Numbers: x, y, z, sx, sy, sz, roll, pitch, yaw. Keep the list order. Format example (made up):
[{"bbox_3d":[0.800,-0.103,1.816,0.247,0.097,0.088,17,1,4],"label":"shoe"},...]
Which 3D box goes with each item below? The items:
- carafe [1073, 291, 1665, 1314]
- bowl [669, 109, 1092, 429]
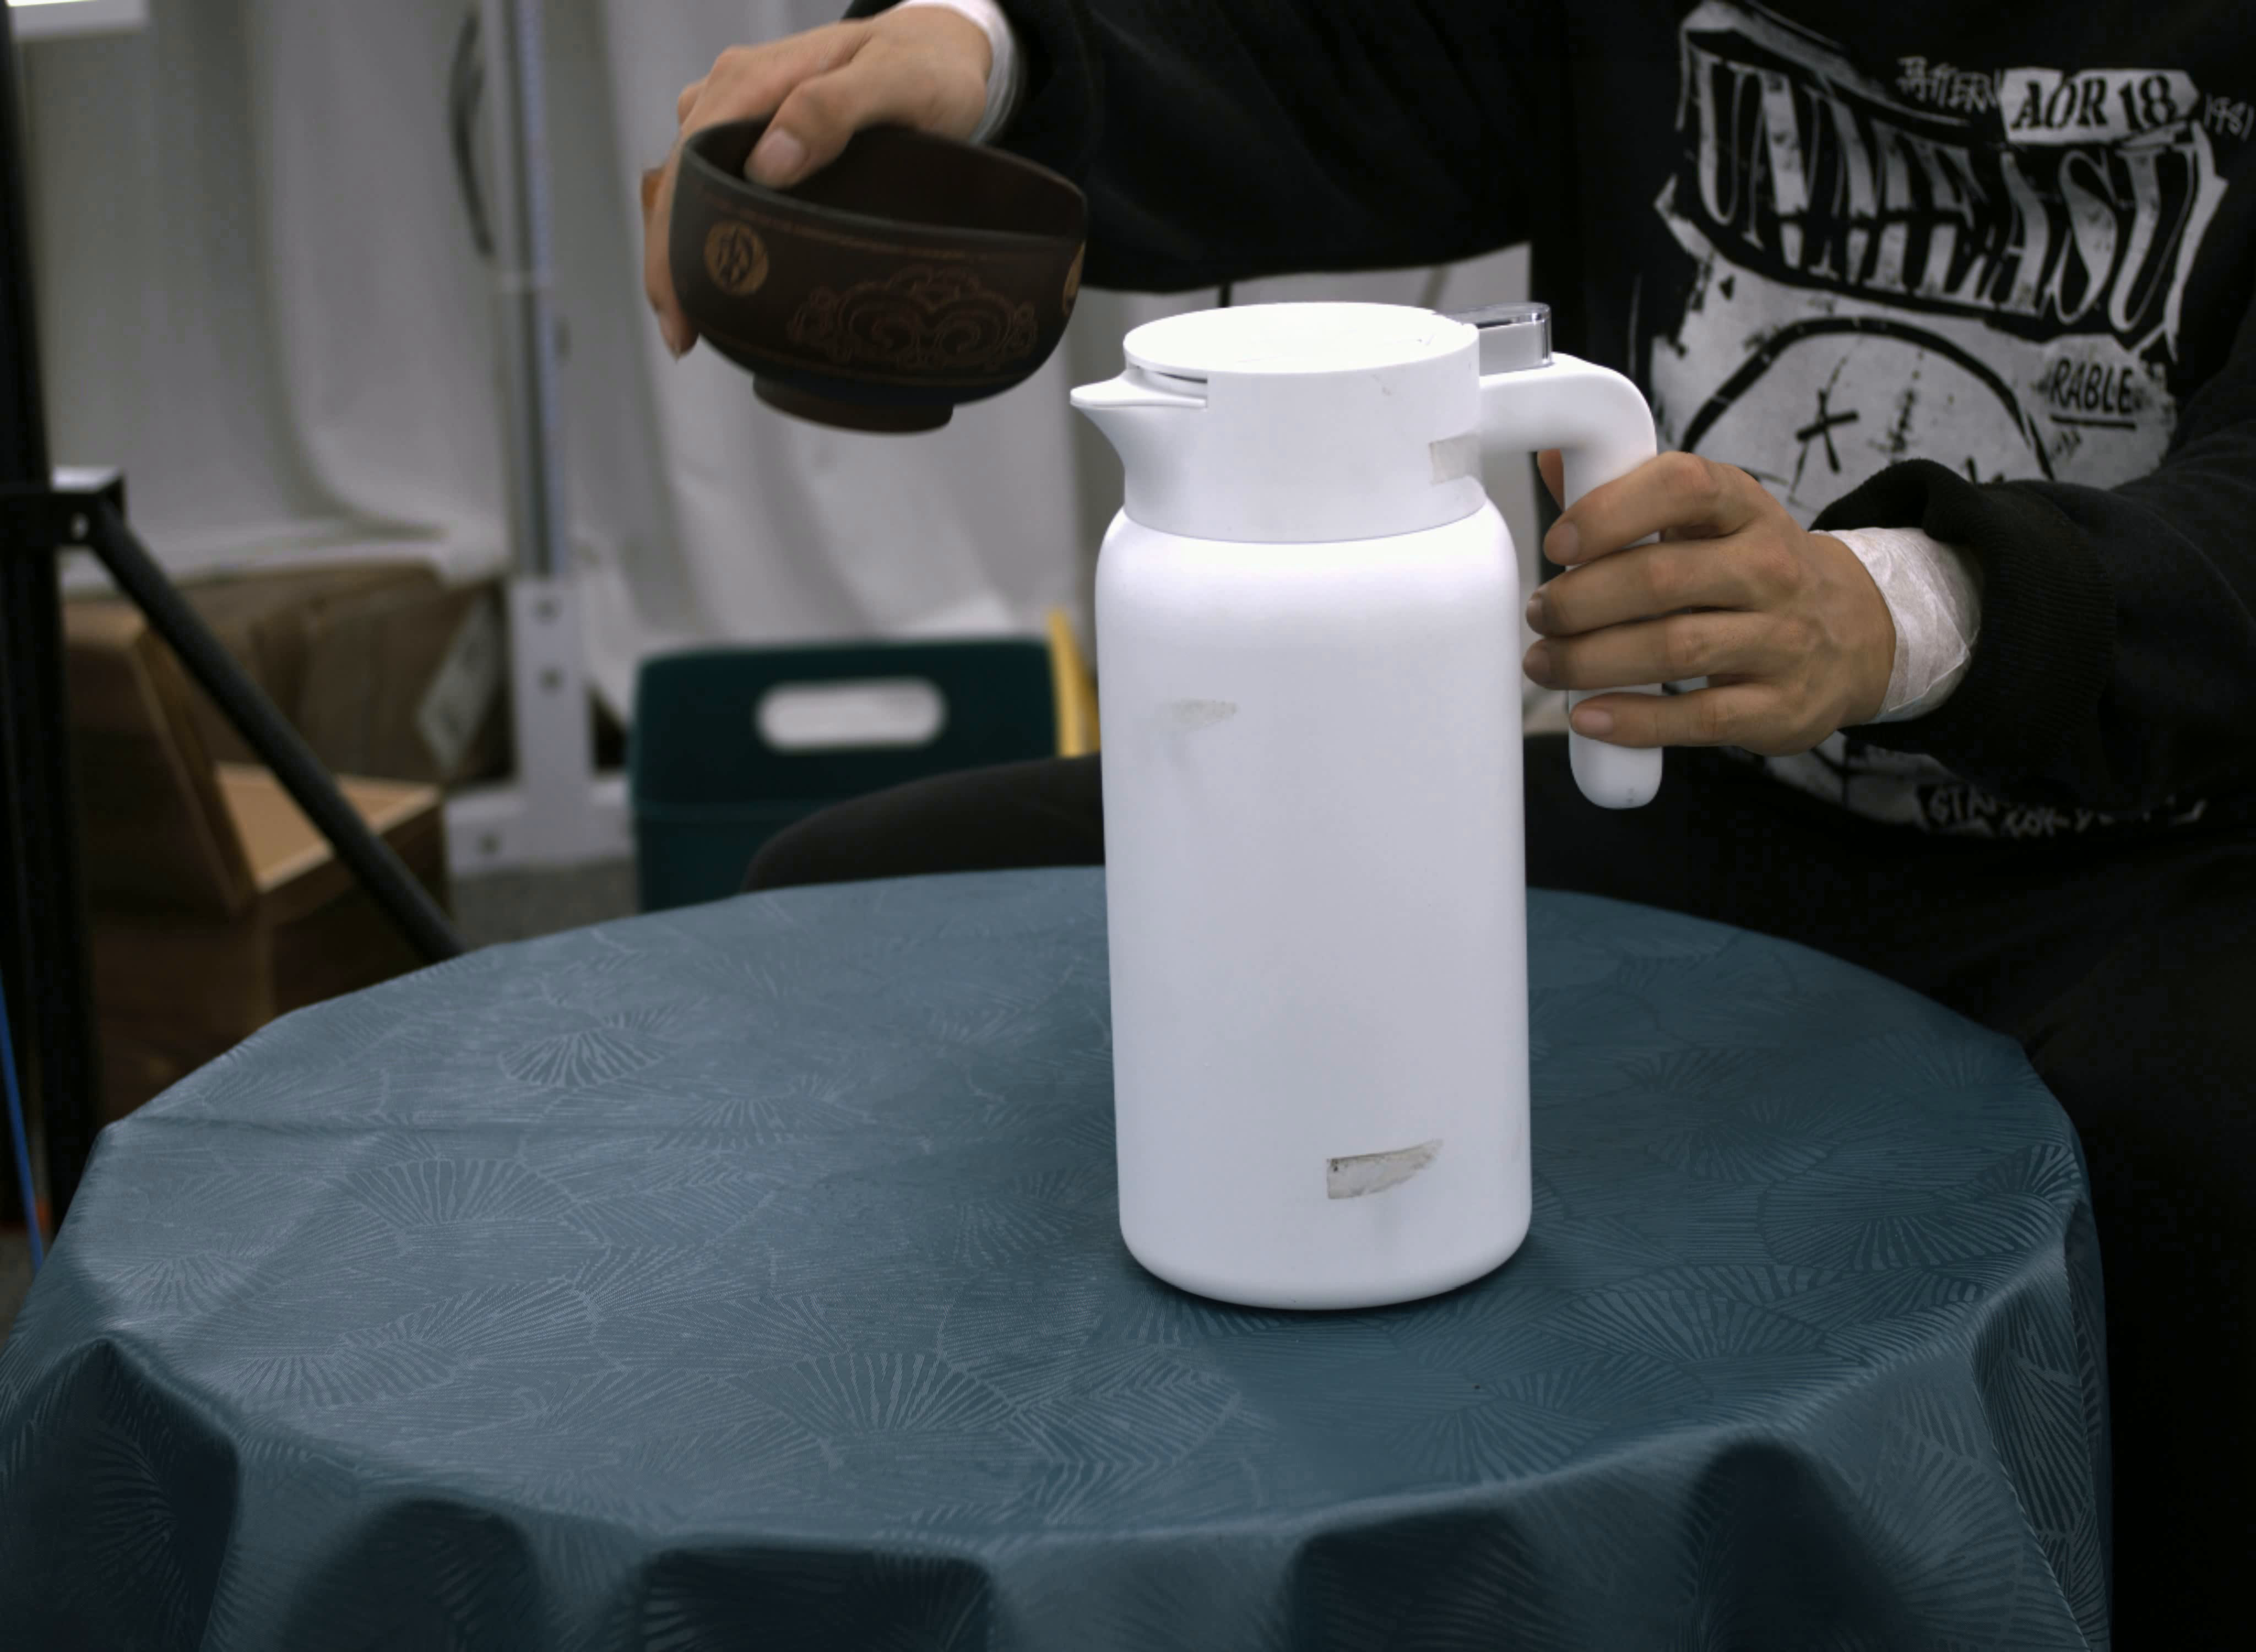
[{"bbox_3d":[0.068,-0.010,1.474,0.169,0.269,0.126,-9,14,-23],"label":"carafe"},{"bbox_3d":[-0.072,-0.153,1.503,0.117,0.070,0.119,7,20,-4],"label":"bowl"}]
